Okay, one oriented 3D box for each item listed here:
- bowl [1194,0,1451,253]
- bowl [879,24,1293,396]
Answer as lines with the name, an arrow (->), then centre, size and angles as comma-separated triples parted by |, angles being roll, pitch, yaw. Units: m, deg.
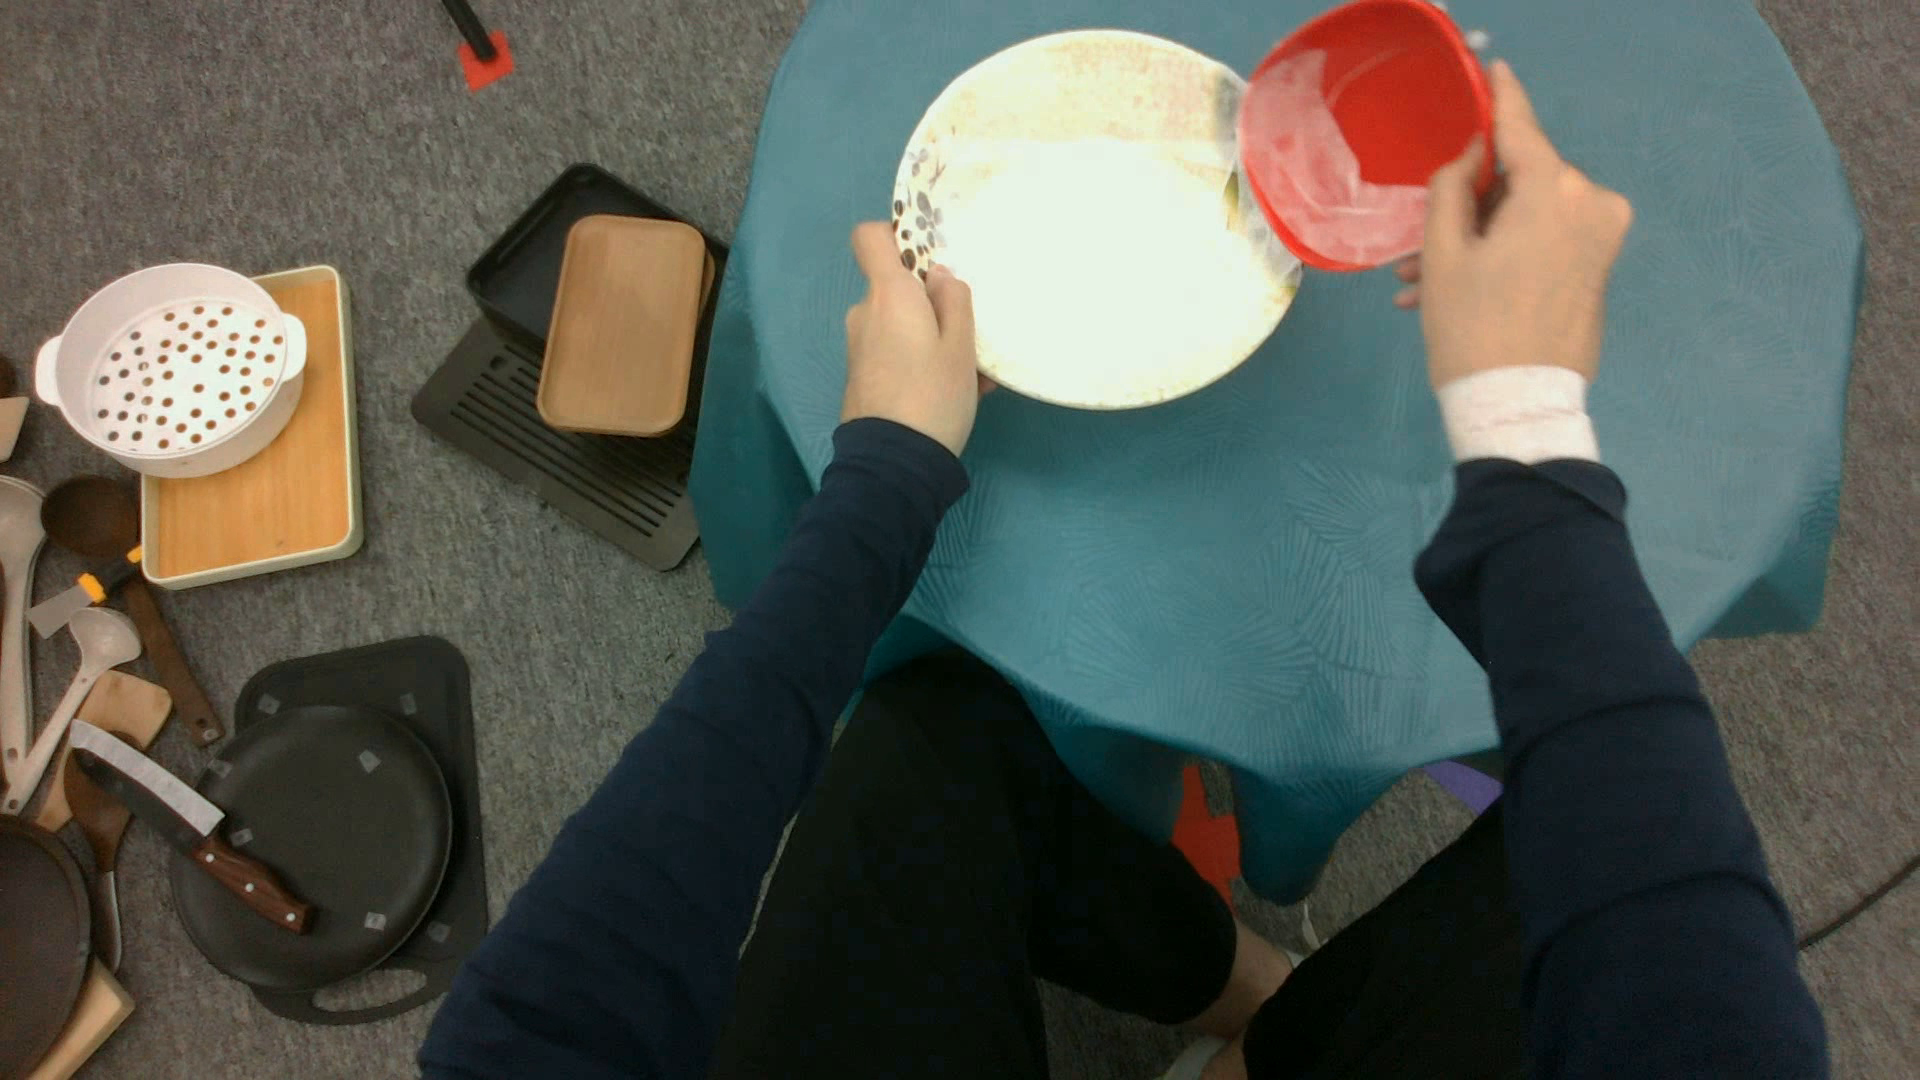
bowl -> 0.167, -0.190, 0.609 | 0.119, 0.118, 0.051 | 48, 47, 13
bowl -> 0.063, -0.156, 0.707 | 0.204, 0.078, 0.204 | 0, 74, 1
